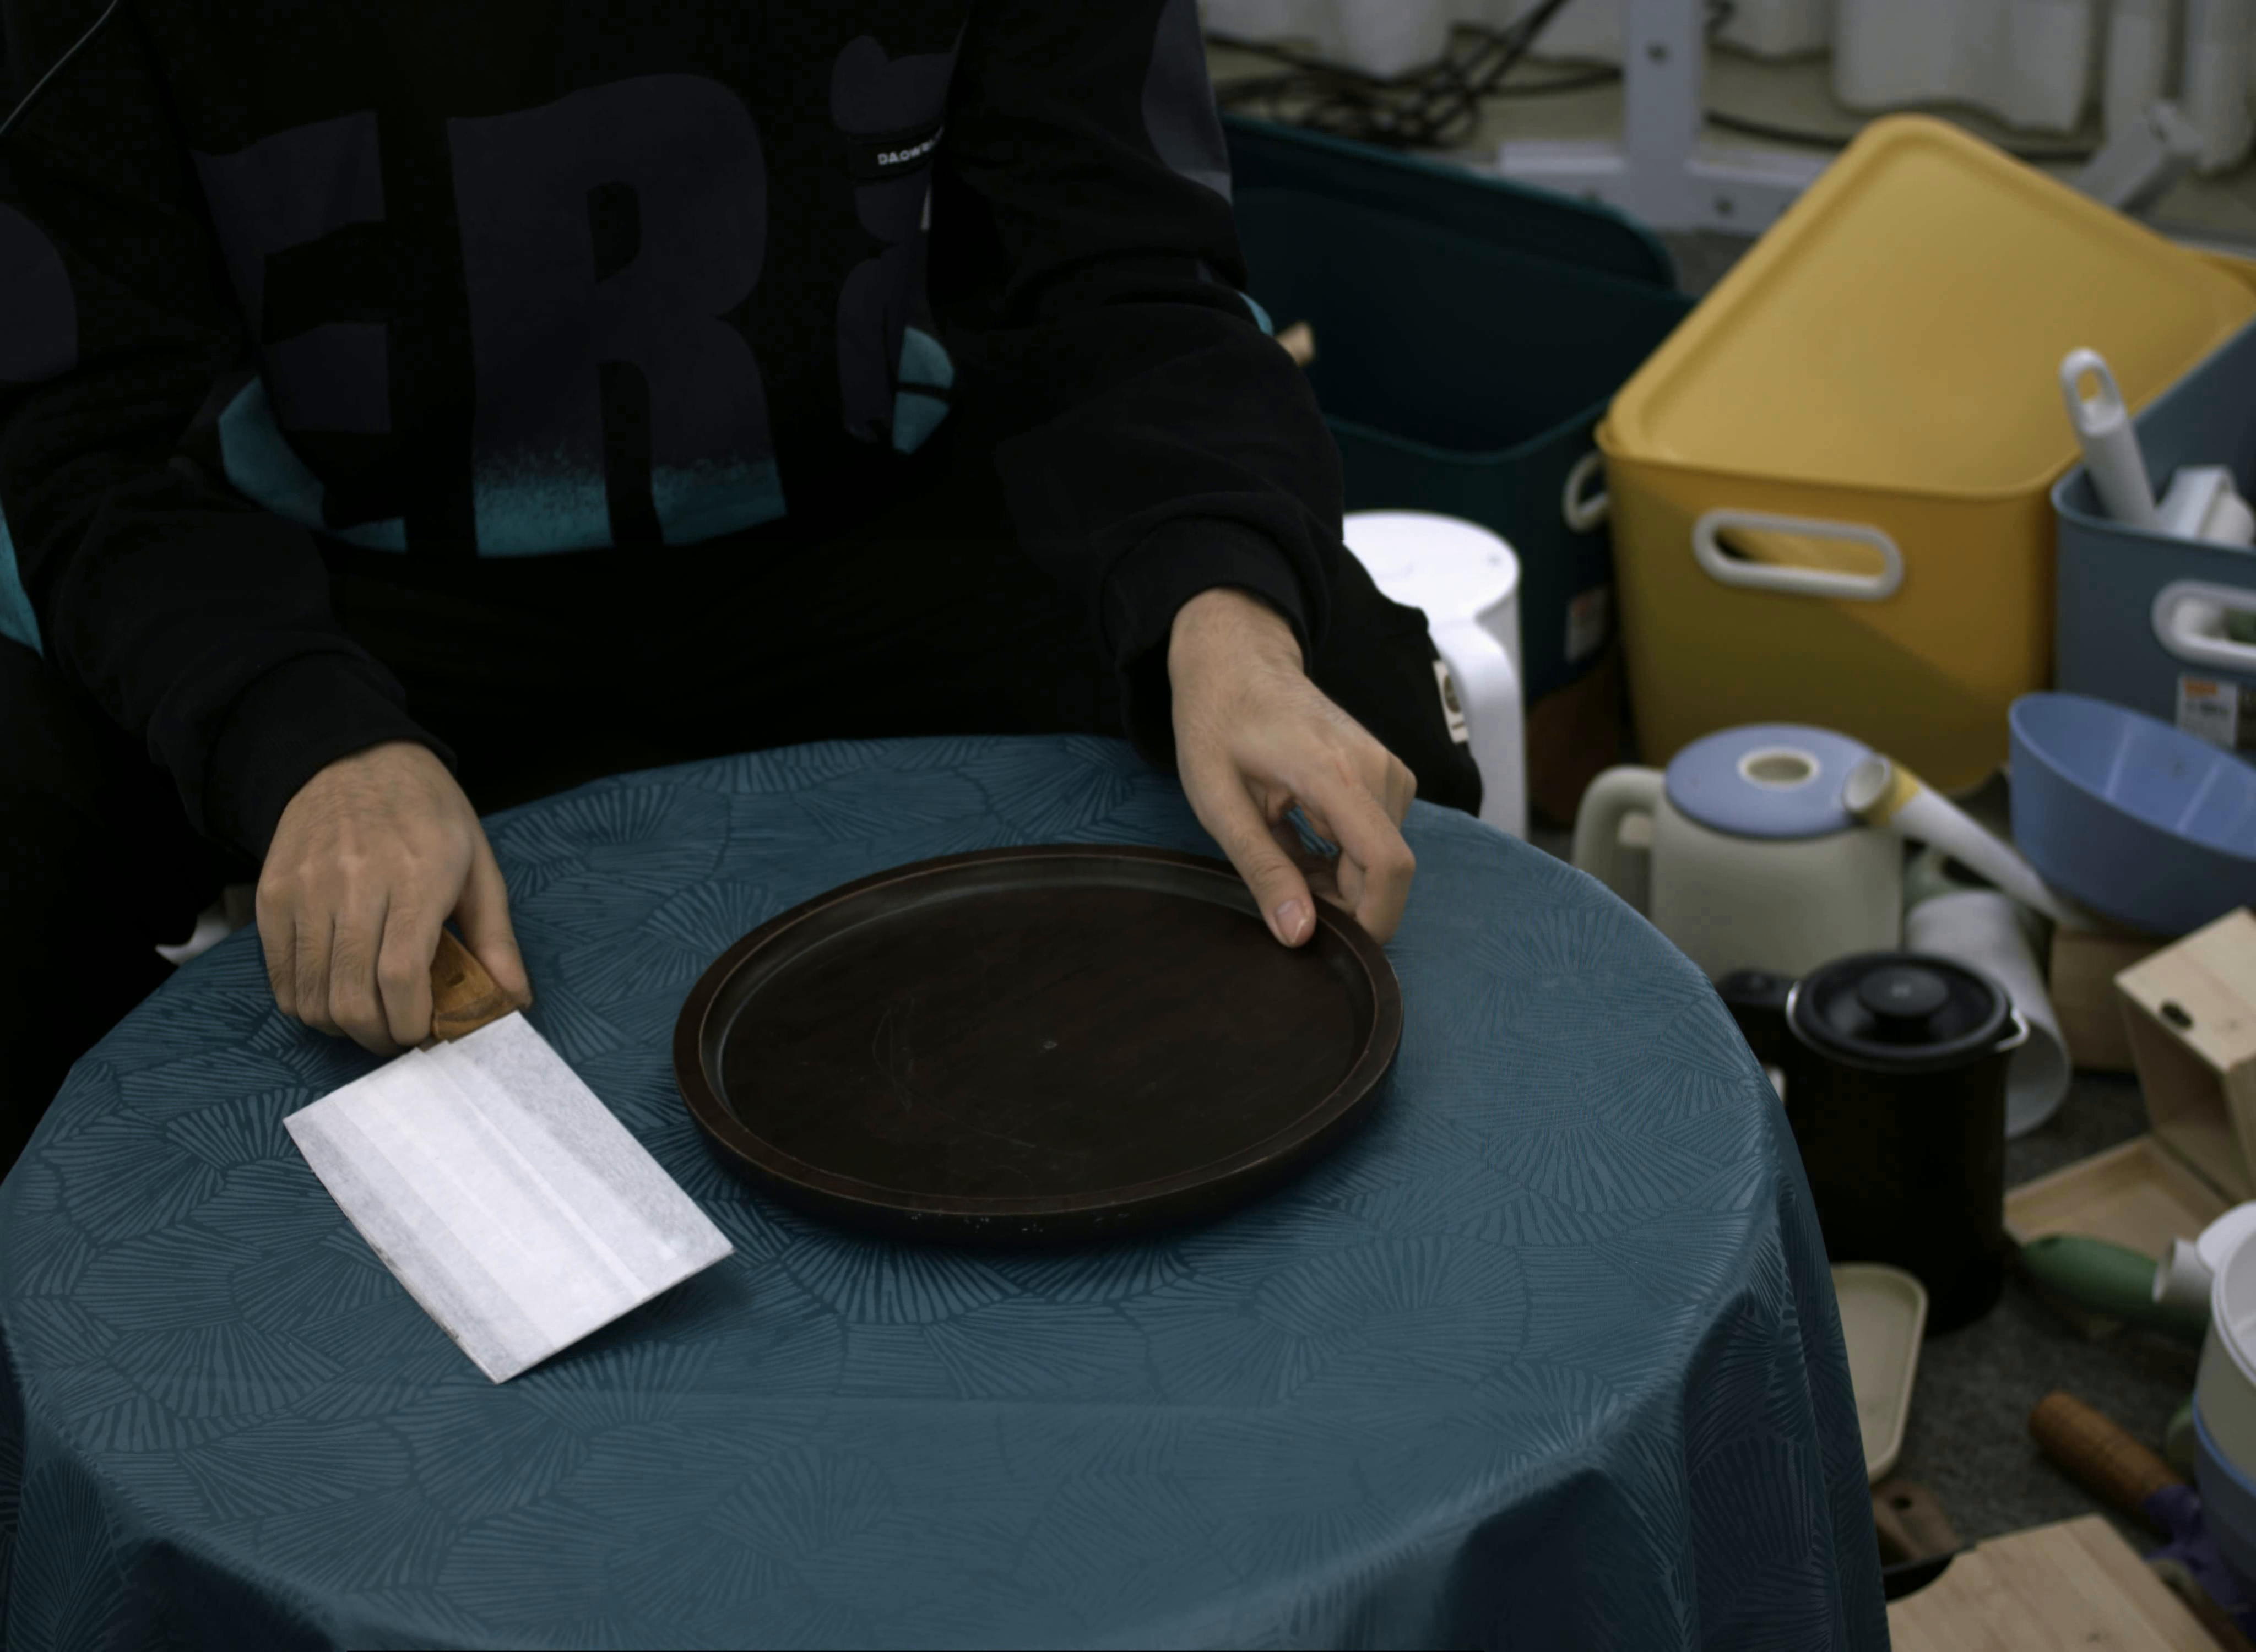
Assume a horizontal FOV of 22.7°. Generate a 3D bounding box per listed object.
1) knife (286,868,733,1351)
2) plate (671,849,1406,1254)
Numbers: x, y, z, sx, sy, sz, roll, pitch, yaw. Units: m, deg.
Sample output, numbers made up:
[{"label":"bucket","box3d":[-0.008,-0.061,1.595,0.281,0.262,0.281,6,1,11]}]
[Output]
[{"label":"knife","box3d":[-0.233,0.097,1.908,0.093,0.021,0.307,-28,35,-17]},{"label":"plate","box3d":[-0.030,0.075,1.927,0.253,0.029,0.259,-3,29,2]}]
